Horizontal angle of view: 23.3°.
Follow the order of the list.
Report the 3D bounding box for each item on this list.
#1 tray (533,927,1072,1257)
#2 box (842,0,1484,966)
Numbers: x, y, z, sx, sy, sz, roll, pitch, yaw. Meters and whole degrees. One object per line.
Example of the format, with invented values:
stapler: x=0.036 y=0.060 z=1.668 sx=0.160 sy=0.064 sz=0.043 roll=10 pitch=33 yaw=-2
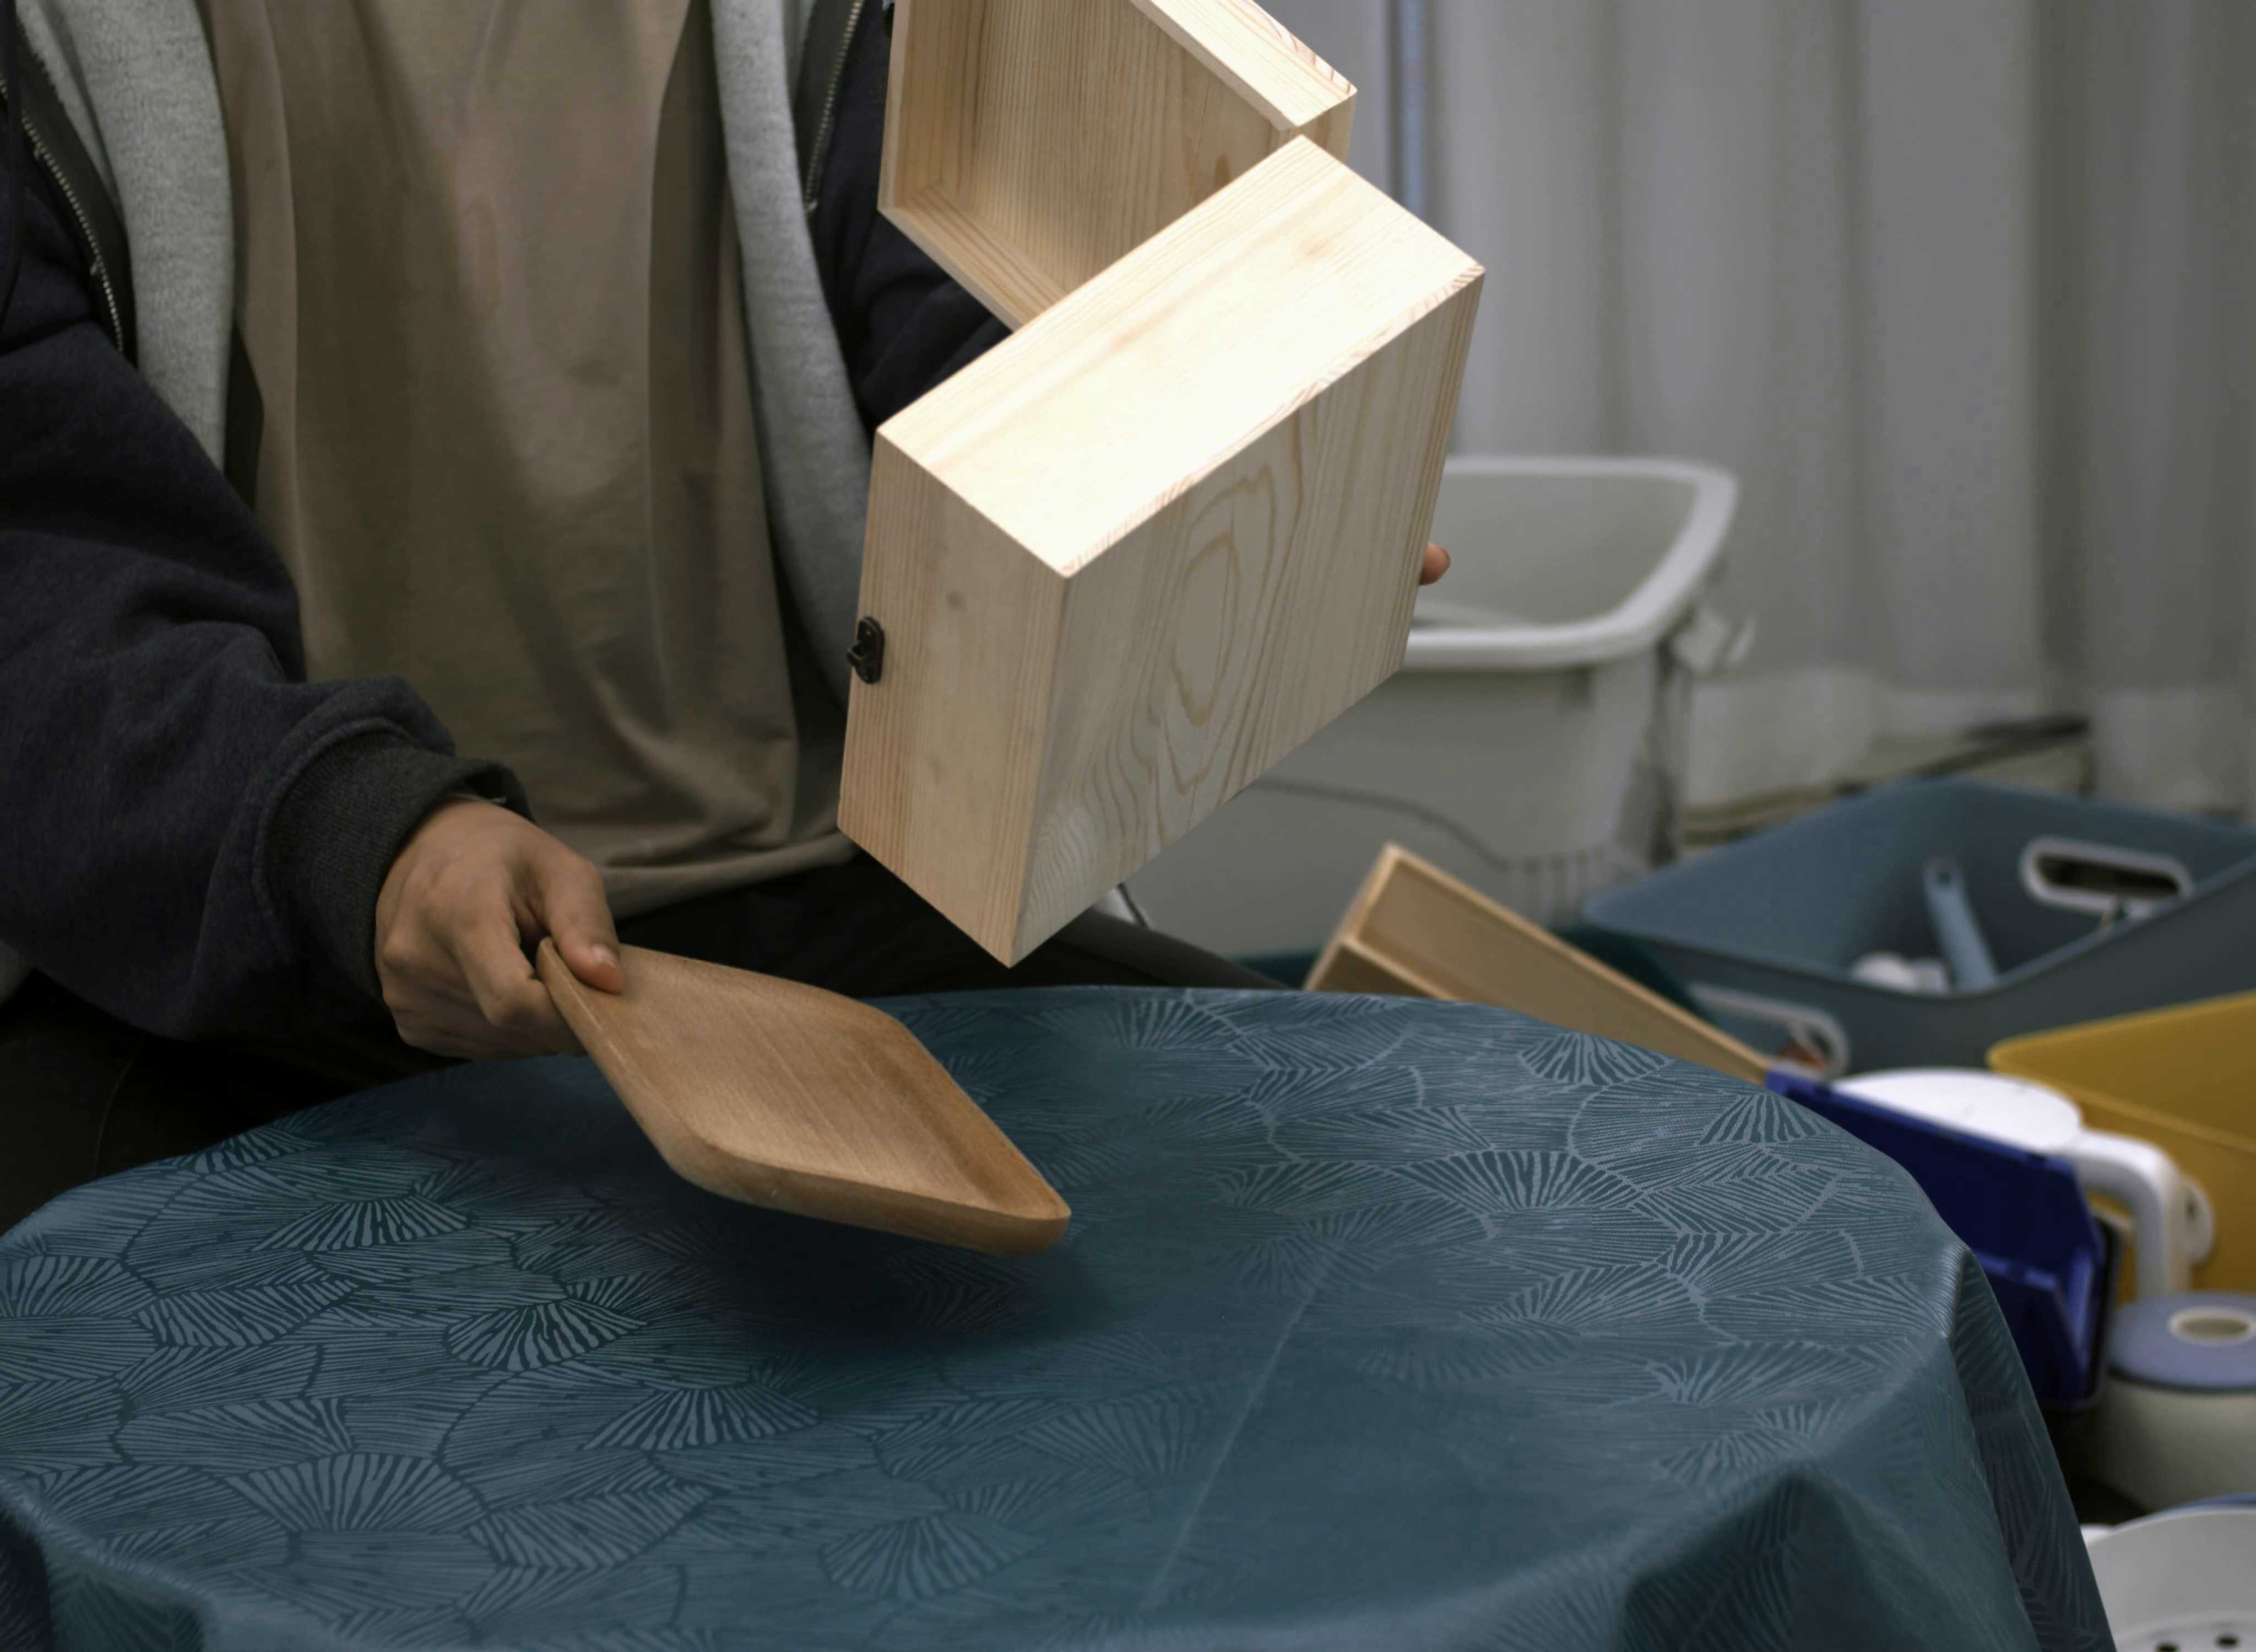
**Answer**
tray: x=-0.105 y=0.080 z=1.681 sx=0.129 sy=0.023 sz=0.252 roll=16 pitch=8 yaw=-19
box: x=-0.029 y=-0.148 z=1.688 sx=0.255 sy=0.179 sz=0.266 roll=38 pitch=55 yaw=25
